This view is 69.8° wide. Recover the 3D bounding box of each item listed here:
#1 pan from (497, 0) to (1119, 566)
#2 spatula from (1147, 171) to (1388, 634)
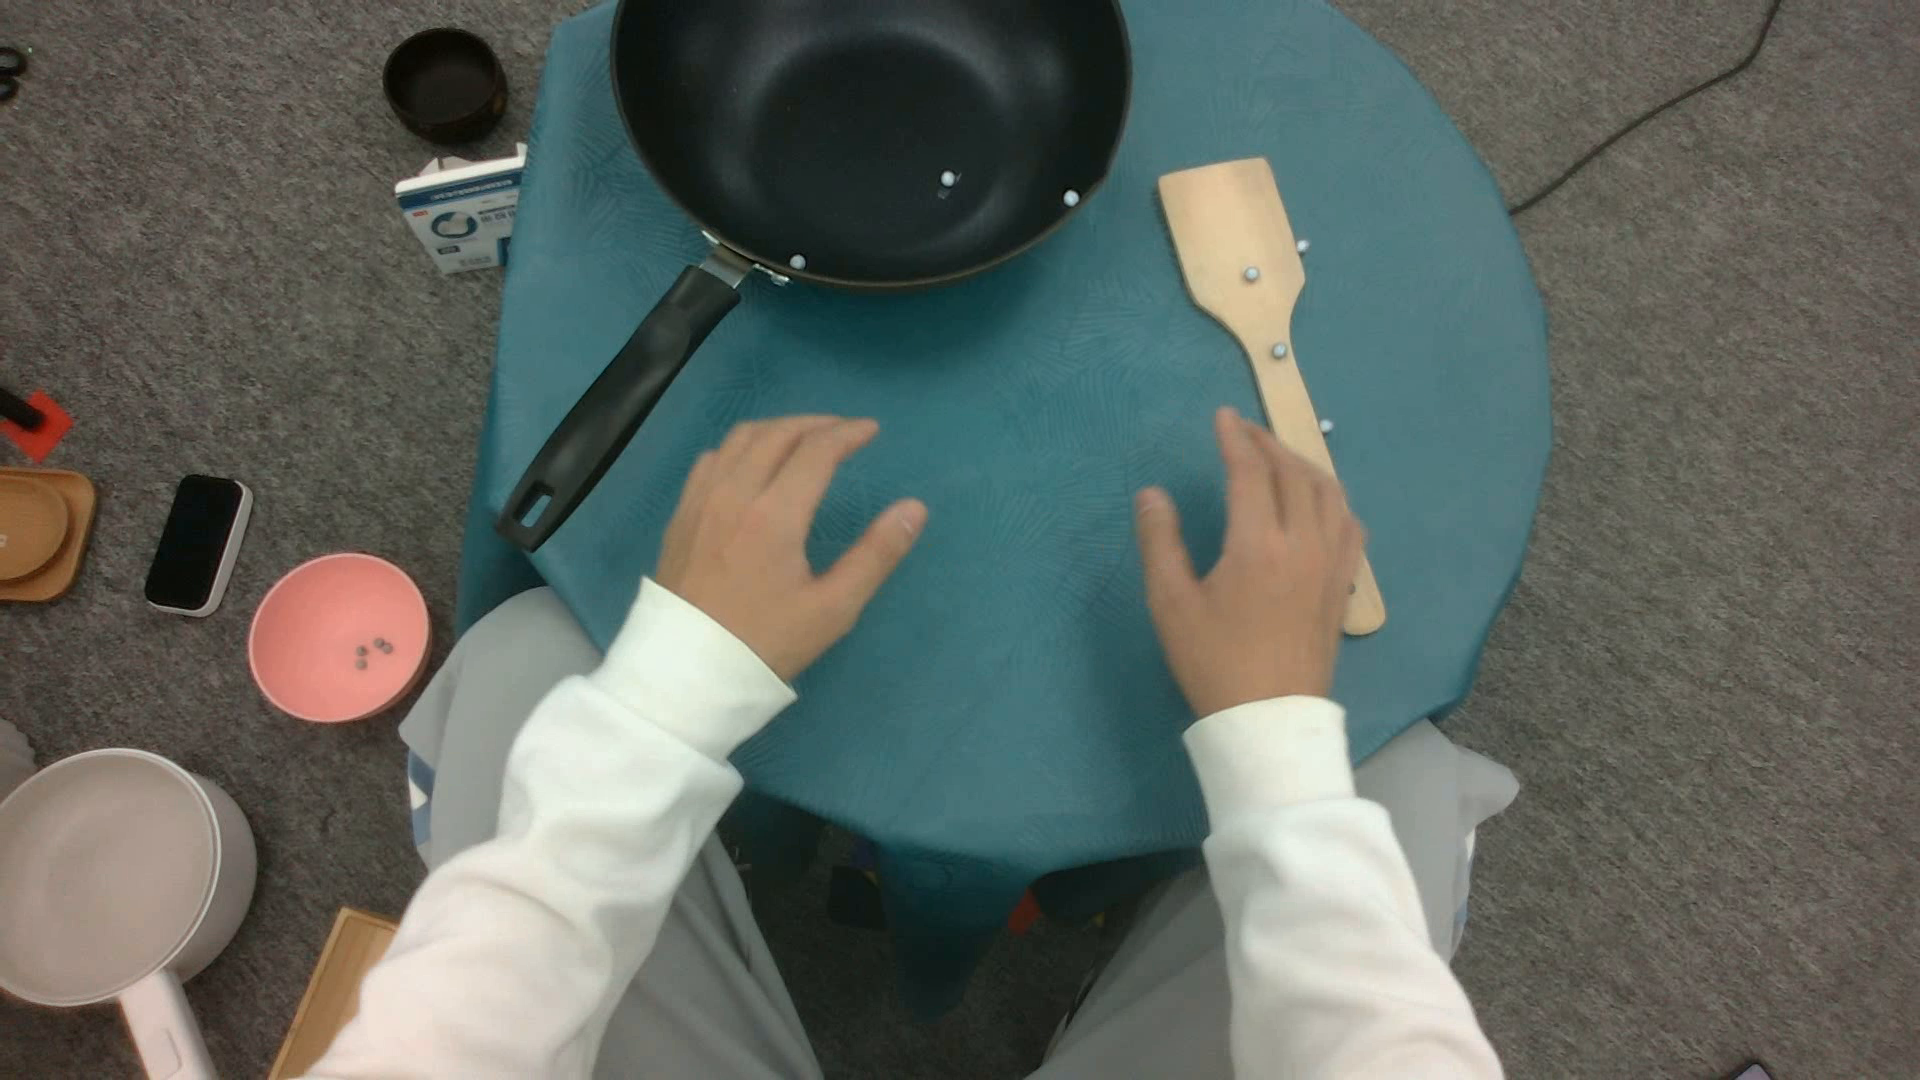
[{"bbox_3d":[-0.098,-0.169,0.773,0.288,0.086,0.464,28,74,8],"label":"pan"},{"bbox_3d":[0.184,-0.084,0.790,0.072,0.010,0.293,-14,72,-8],"label":"spatula"}]
